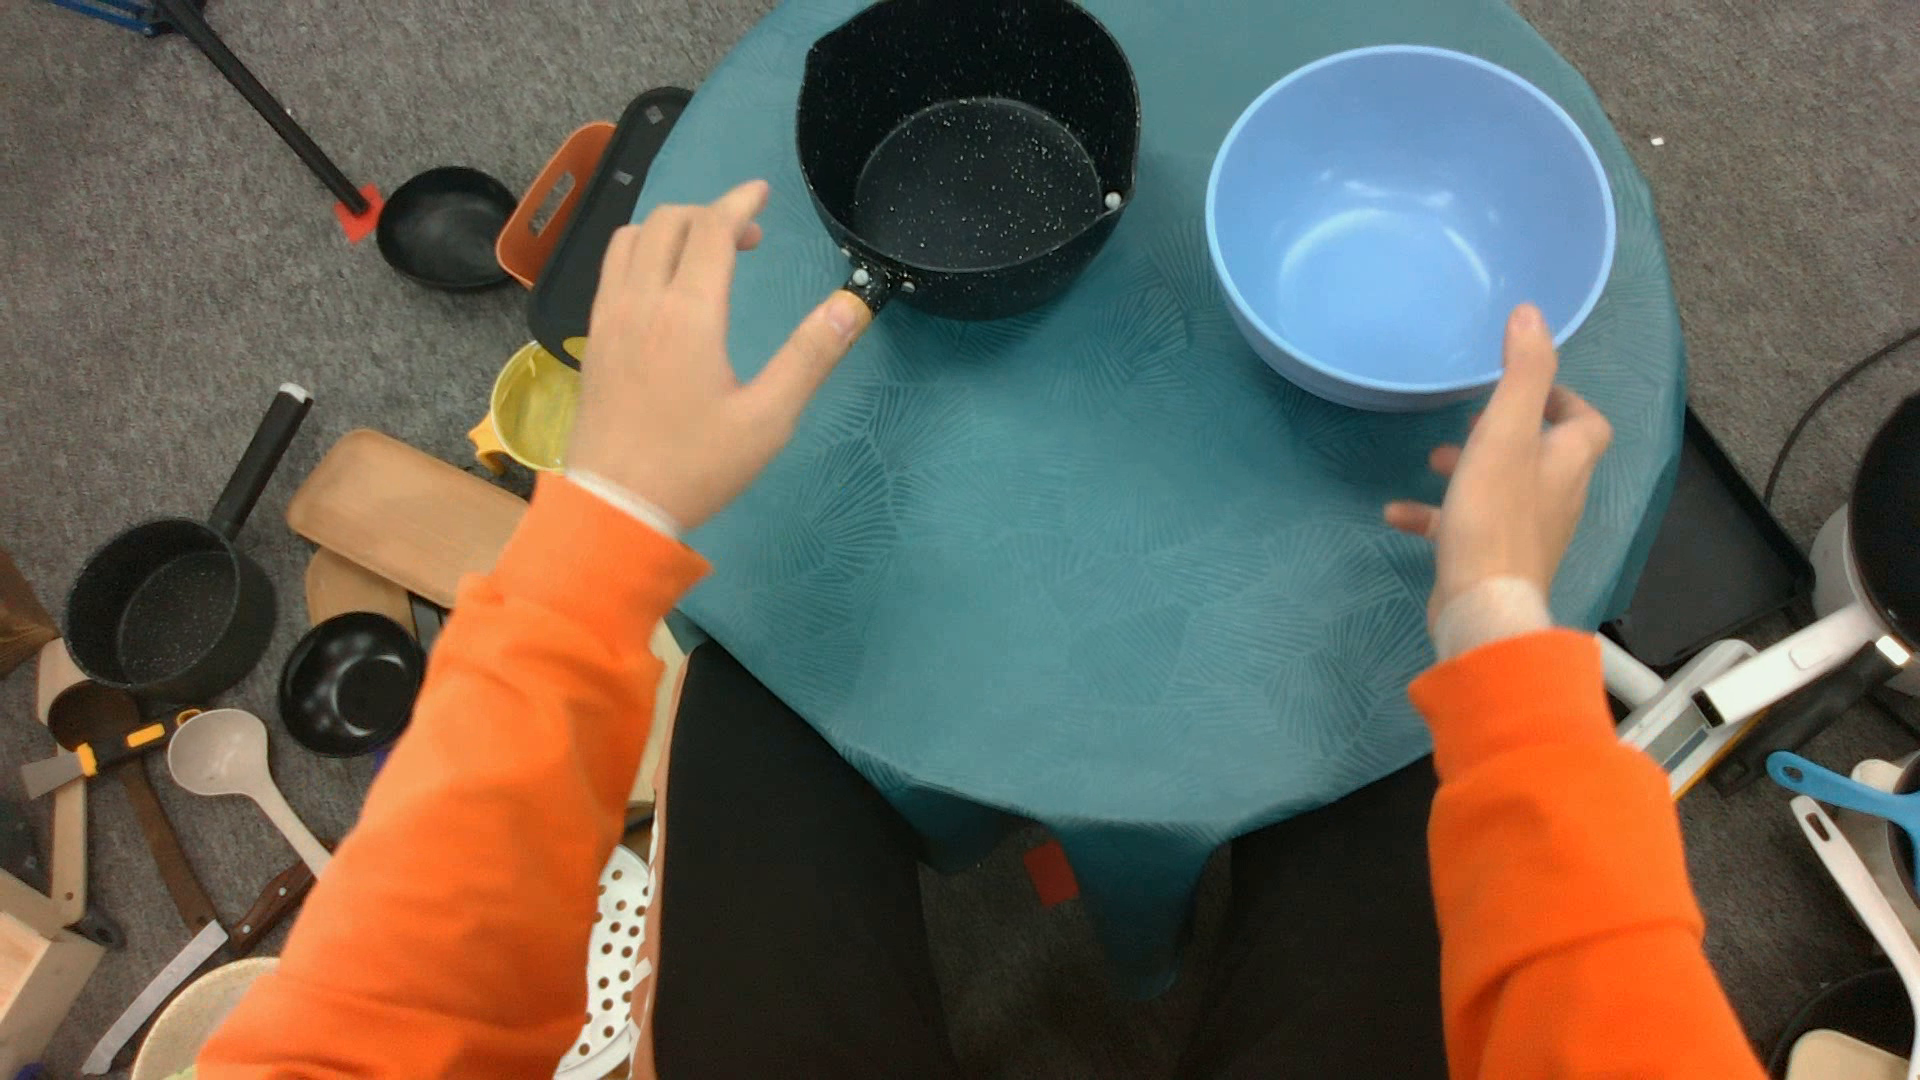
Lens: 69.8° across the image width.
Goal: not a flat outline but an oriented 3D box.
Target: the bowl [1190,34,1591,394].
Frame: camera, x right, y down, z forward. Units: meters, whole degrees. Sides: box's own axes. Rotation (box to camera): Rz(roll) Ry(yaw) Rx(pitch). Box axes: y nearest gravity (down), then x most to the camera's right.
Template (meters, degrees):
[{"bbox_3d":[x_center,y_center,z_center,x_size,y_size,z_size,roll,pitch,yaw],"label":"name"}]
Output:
[{"bbox_3d":[0.216,-0.156,0.728,0.196,0.095,0.197,-1,70,3],"label":"bowl"}]

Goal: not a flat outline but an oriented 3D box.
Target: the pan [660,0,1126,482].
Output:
[{"bbox_3d":[-0.043,-0.155,0.739,0.207,0.108,0.344,28,73,11],"label":"pan"}]
